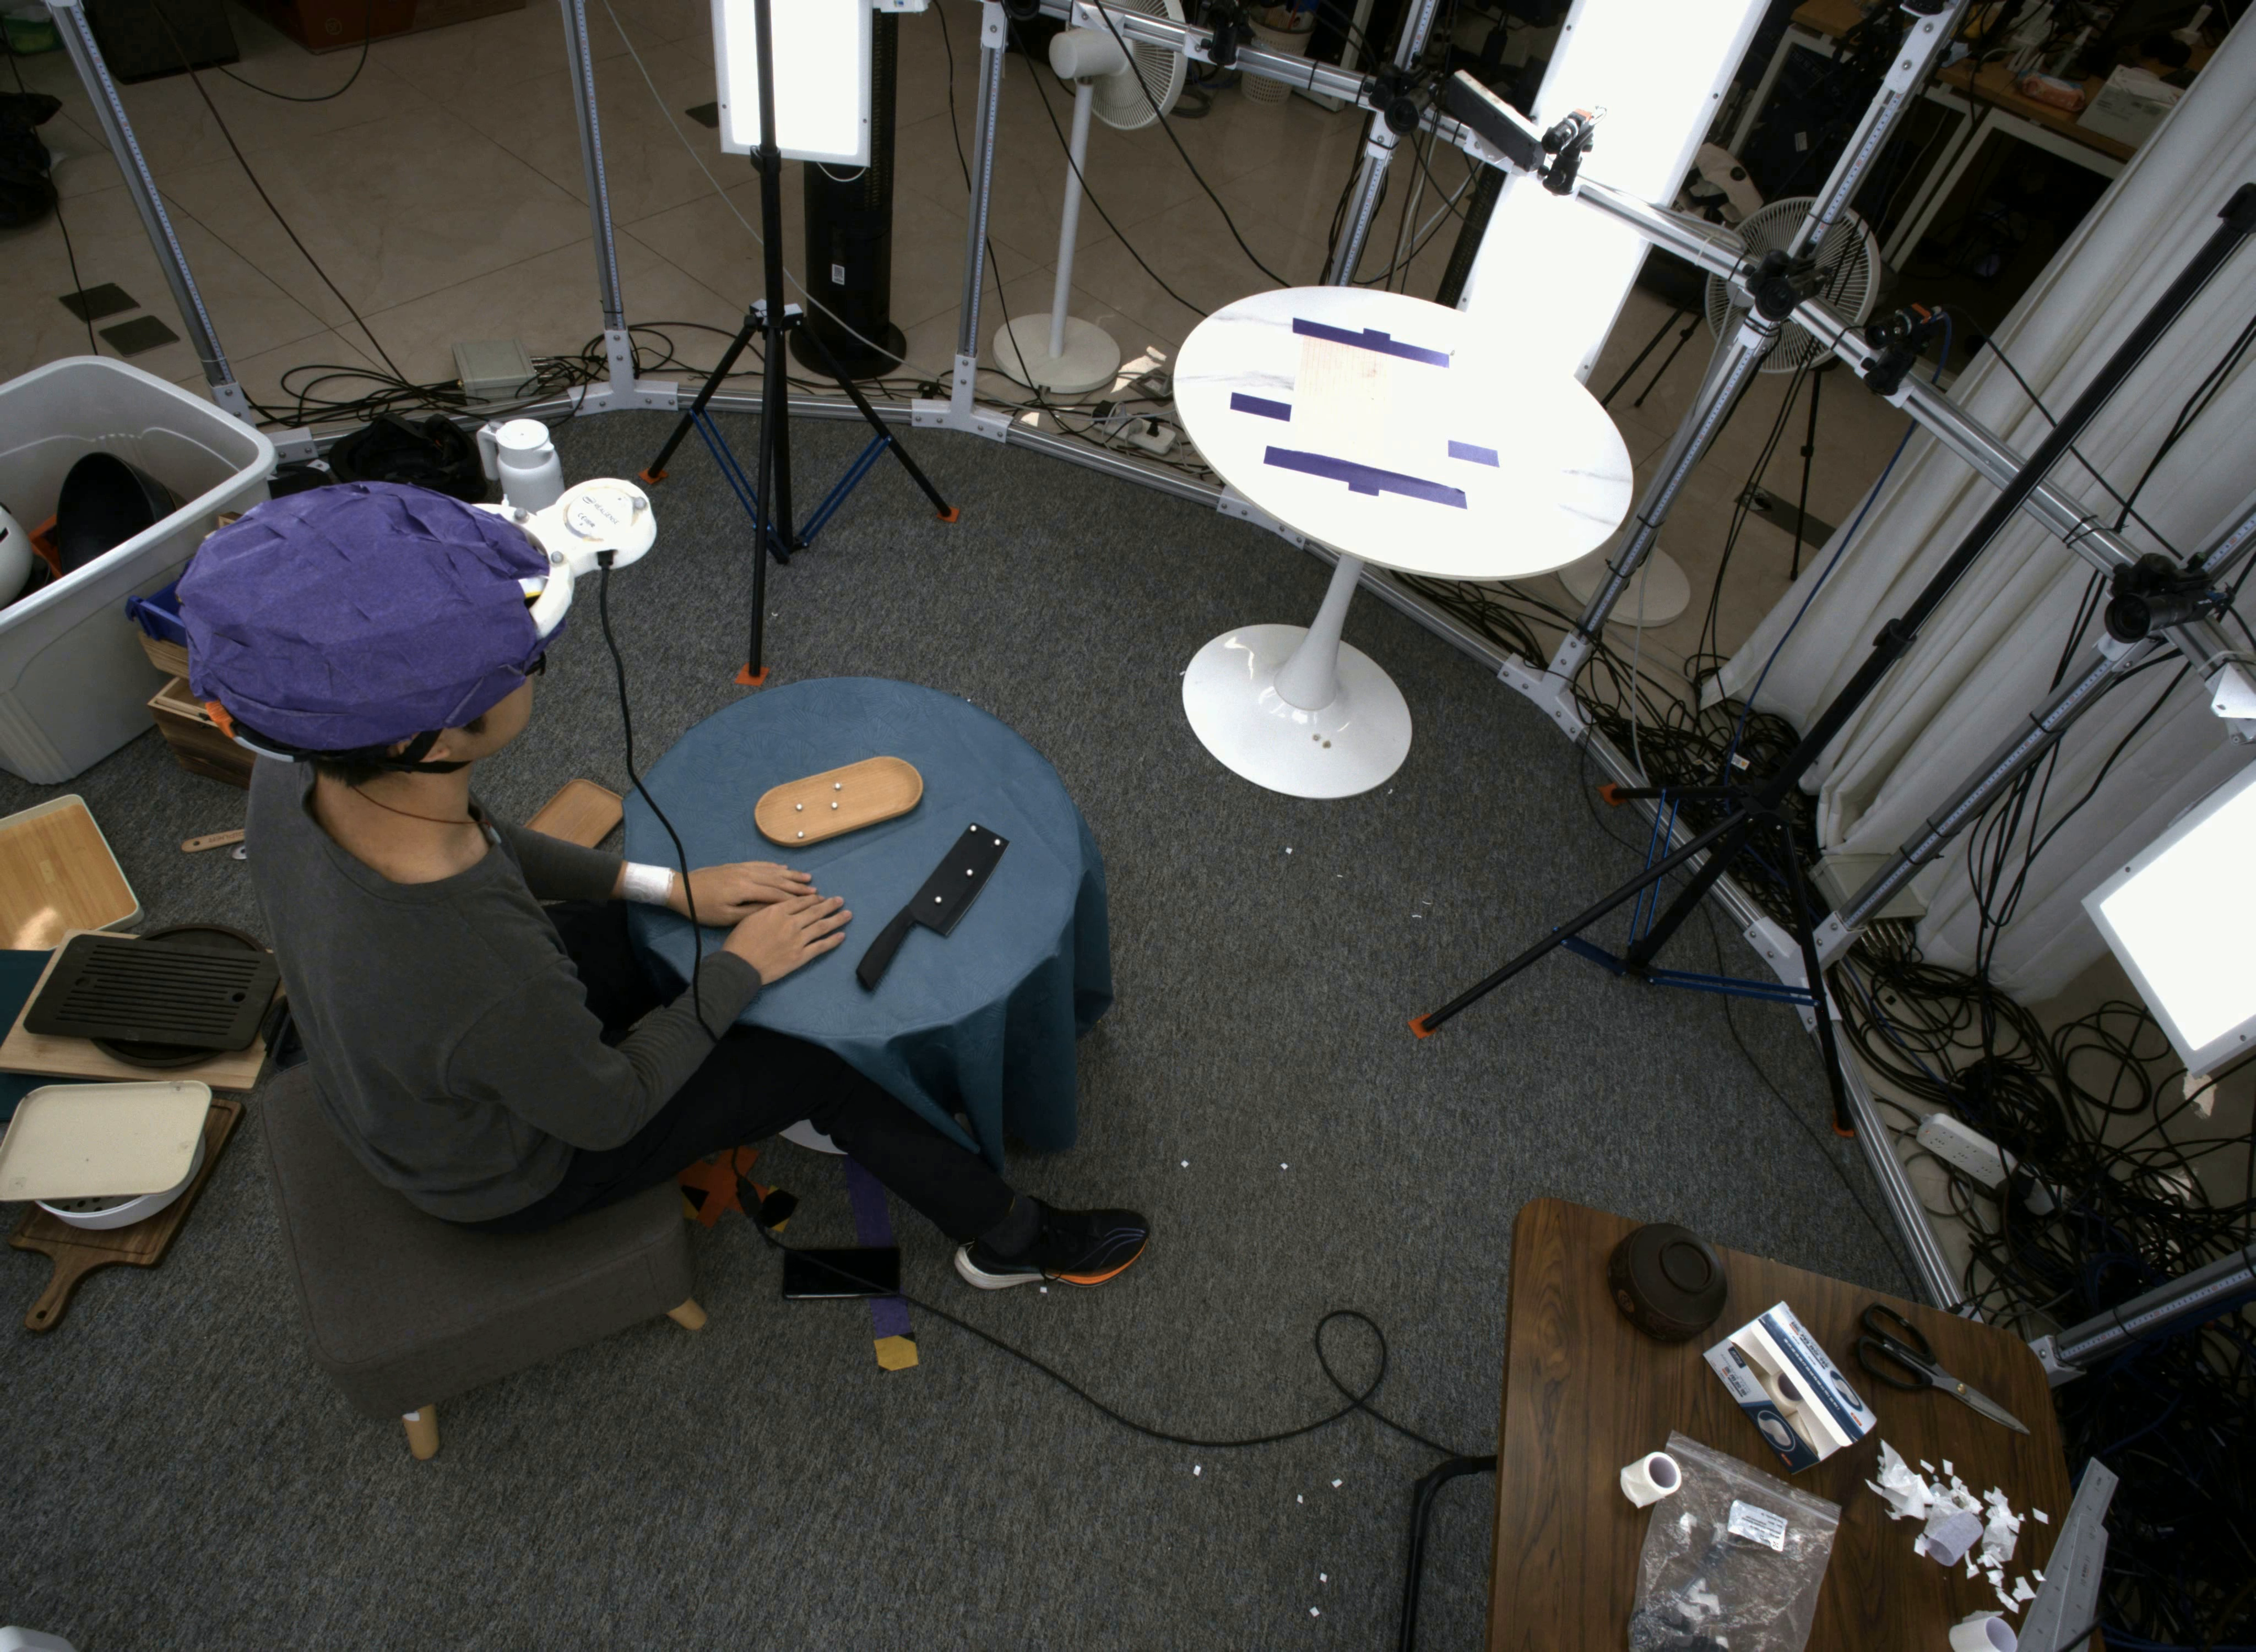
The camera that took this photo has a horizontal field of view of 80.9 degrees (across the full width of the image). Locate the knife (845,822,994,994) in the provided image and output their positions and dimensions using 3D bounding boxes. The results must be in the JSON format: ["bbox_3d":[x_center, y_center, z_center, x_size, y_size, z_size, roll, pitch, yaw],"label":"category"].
[{"bbox_3d":[-0.270,0.102,1.690,0.079,0.021,0.301,30,51,8],"label":"knife"}]

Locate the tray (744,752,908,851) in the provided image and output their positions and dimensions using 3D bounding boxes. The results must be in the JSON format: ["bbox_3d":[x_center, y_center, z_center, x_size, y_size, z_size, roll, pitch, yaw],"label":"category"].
[{"bbox_3d":[-0.406,-0.035,1.754,0.232,0.020,0.099,-23,65,-28],"label":"tray"}]
